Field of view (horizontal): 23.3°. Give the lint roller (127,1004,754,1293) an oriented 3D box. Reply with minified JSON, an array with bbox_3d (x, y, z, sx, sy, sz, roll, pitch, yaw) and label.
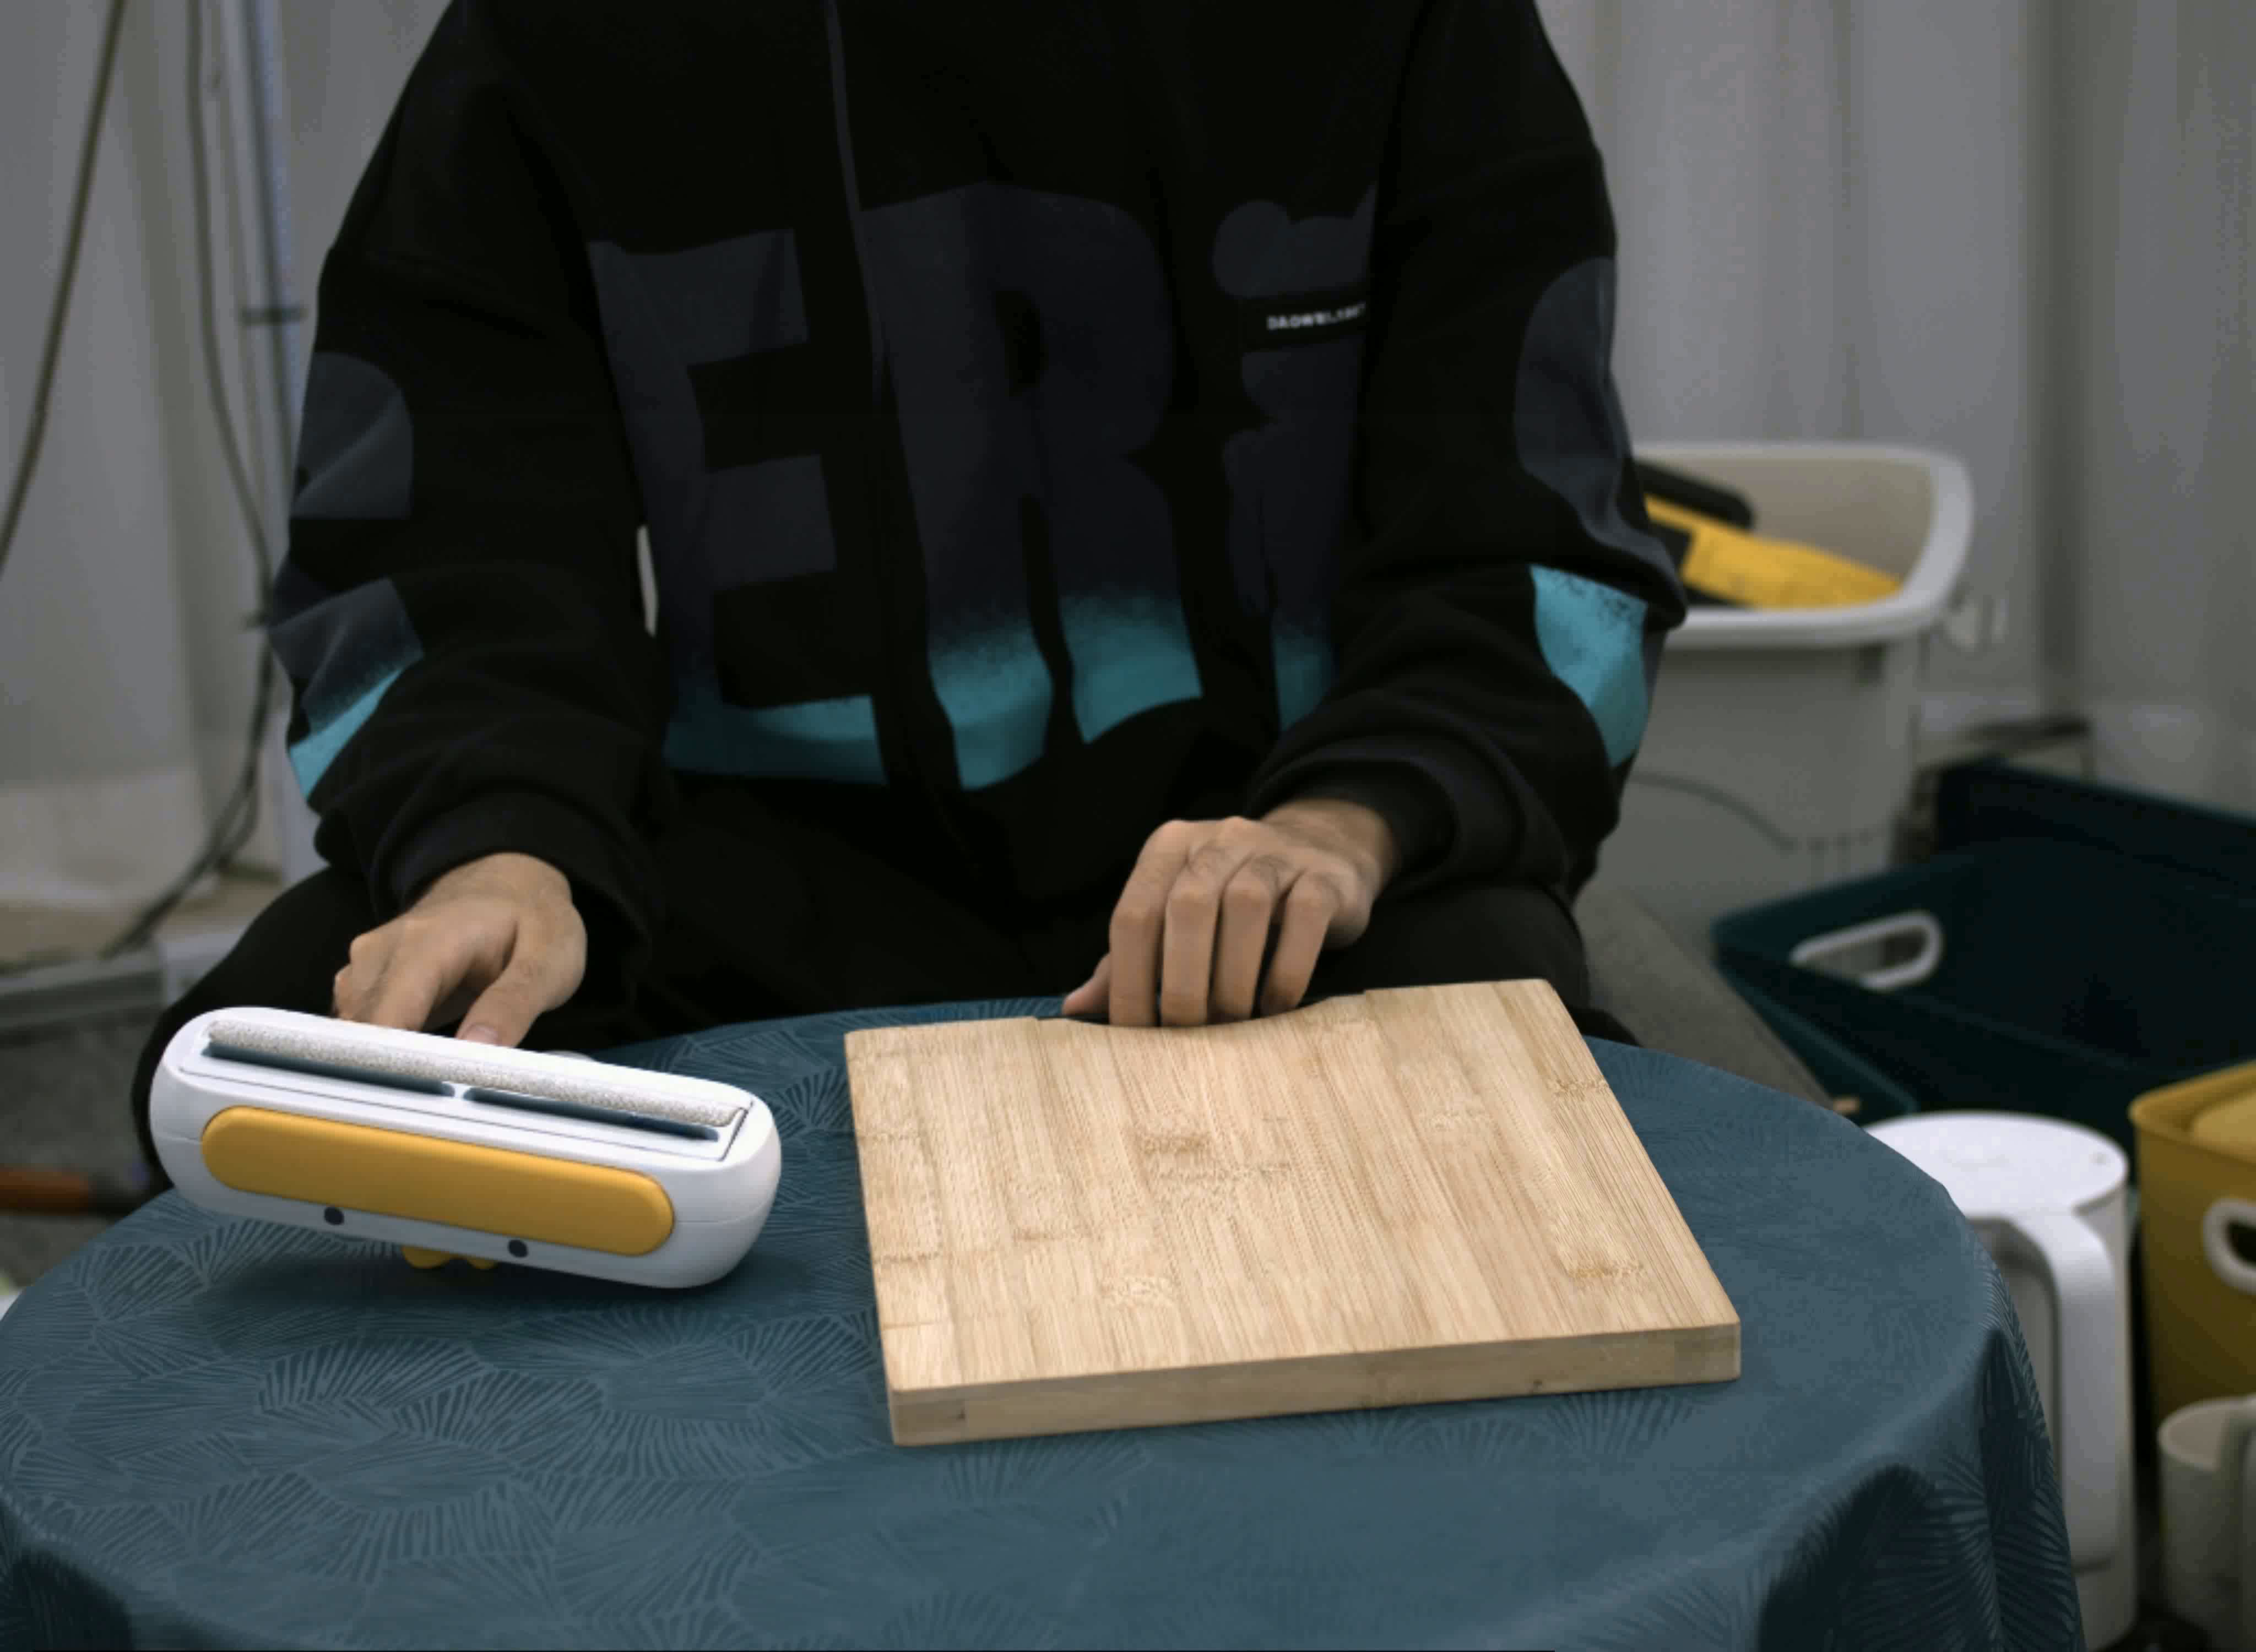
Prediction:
[{"bbox_3d":[-0.197,0.090,1.718,0.192,0.074,0.193,6,15,11],"label":"lint roller"}]

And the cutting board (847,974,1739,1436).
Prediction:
[{"bbox_3d":[0.038,0.112,1.687,0.250,0.023,0.351,-4,15,-4],"label":"cutting board"}]
